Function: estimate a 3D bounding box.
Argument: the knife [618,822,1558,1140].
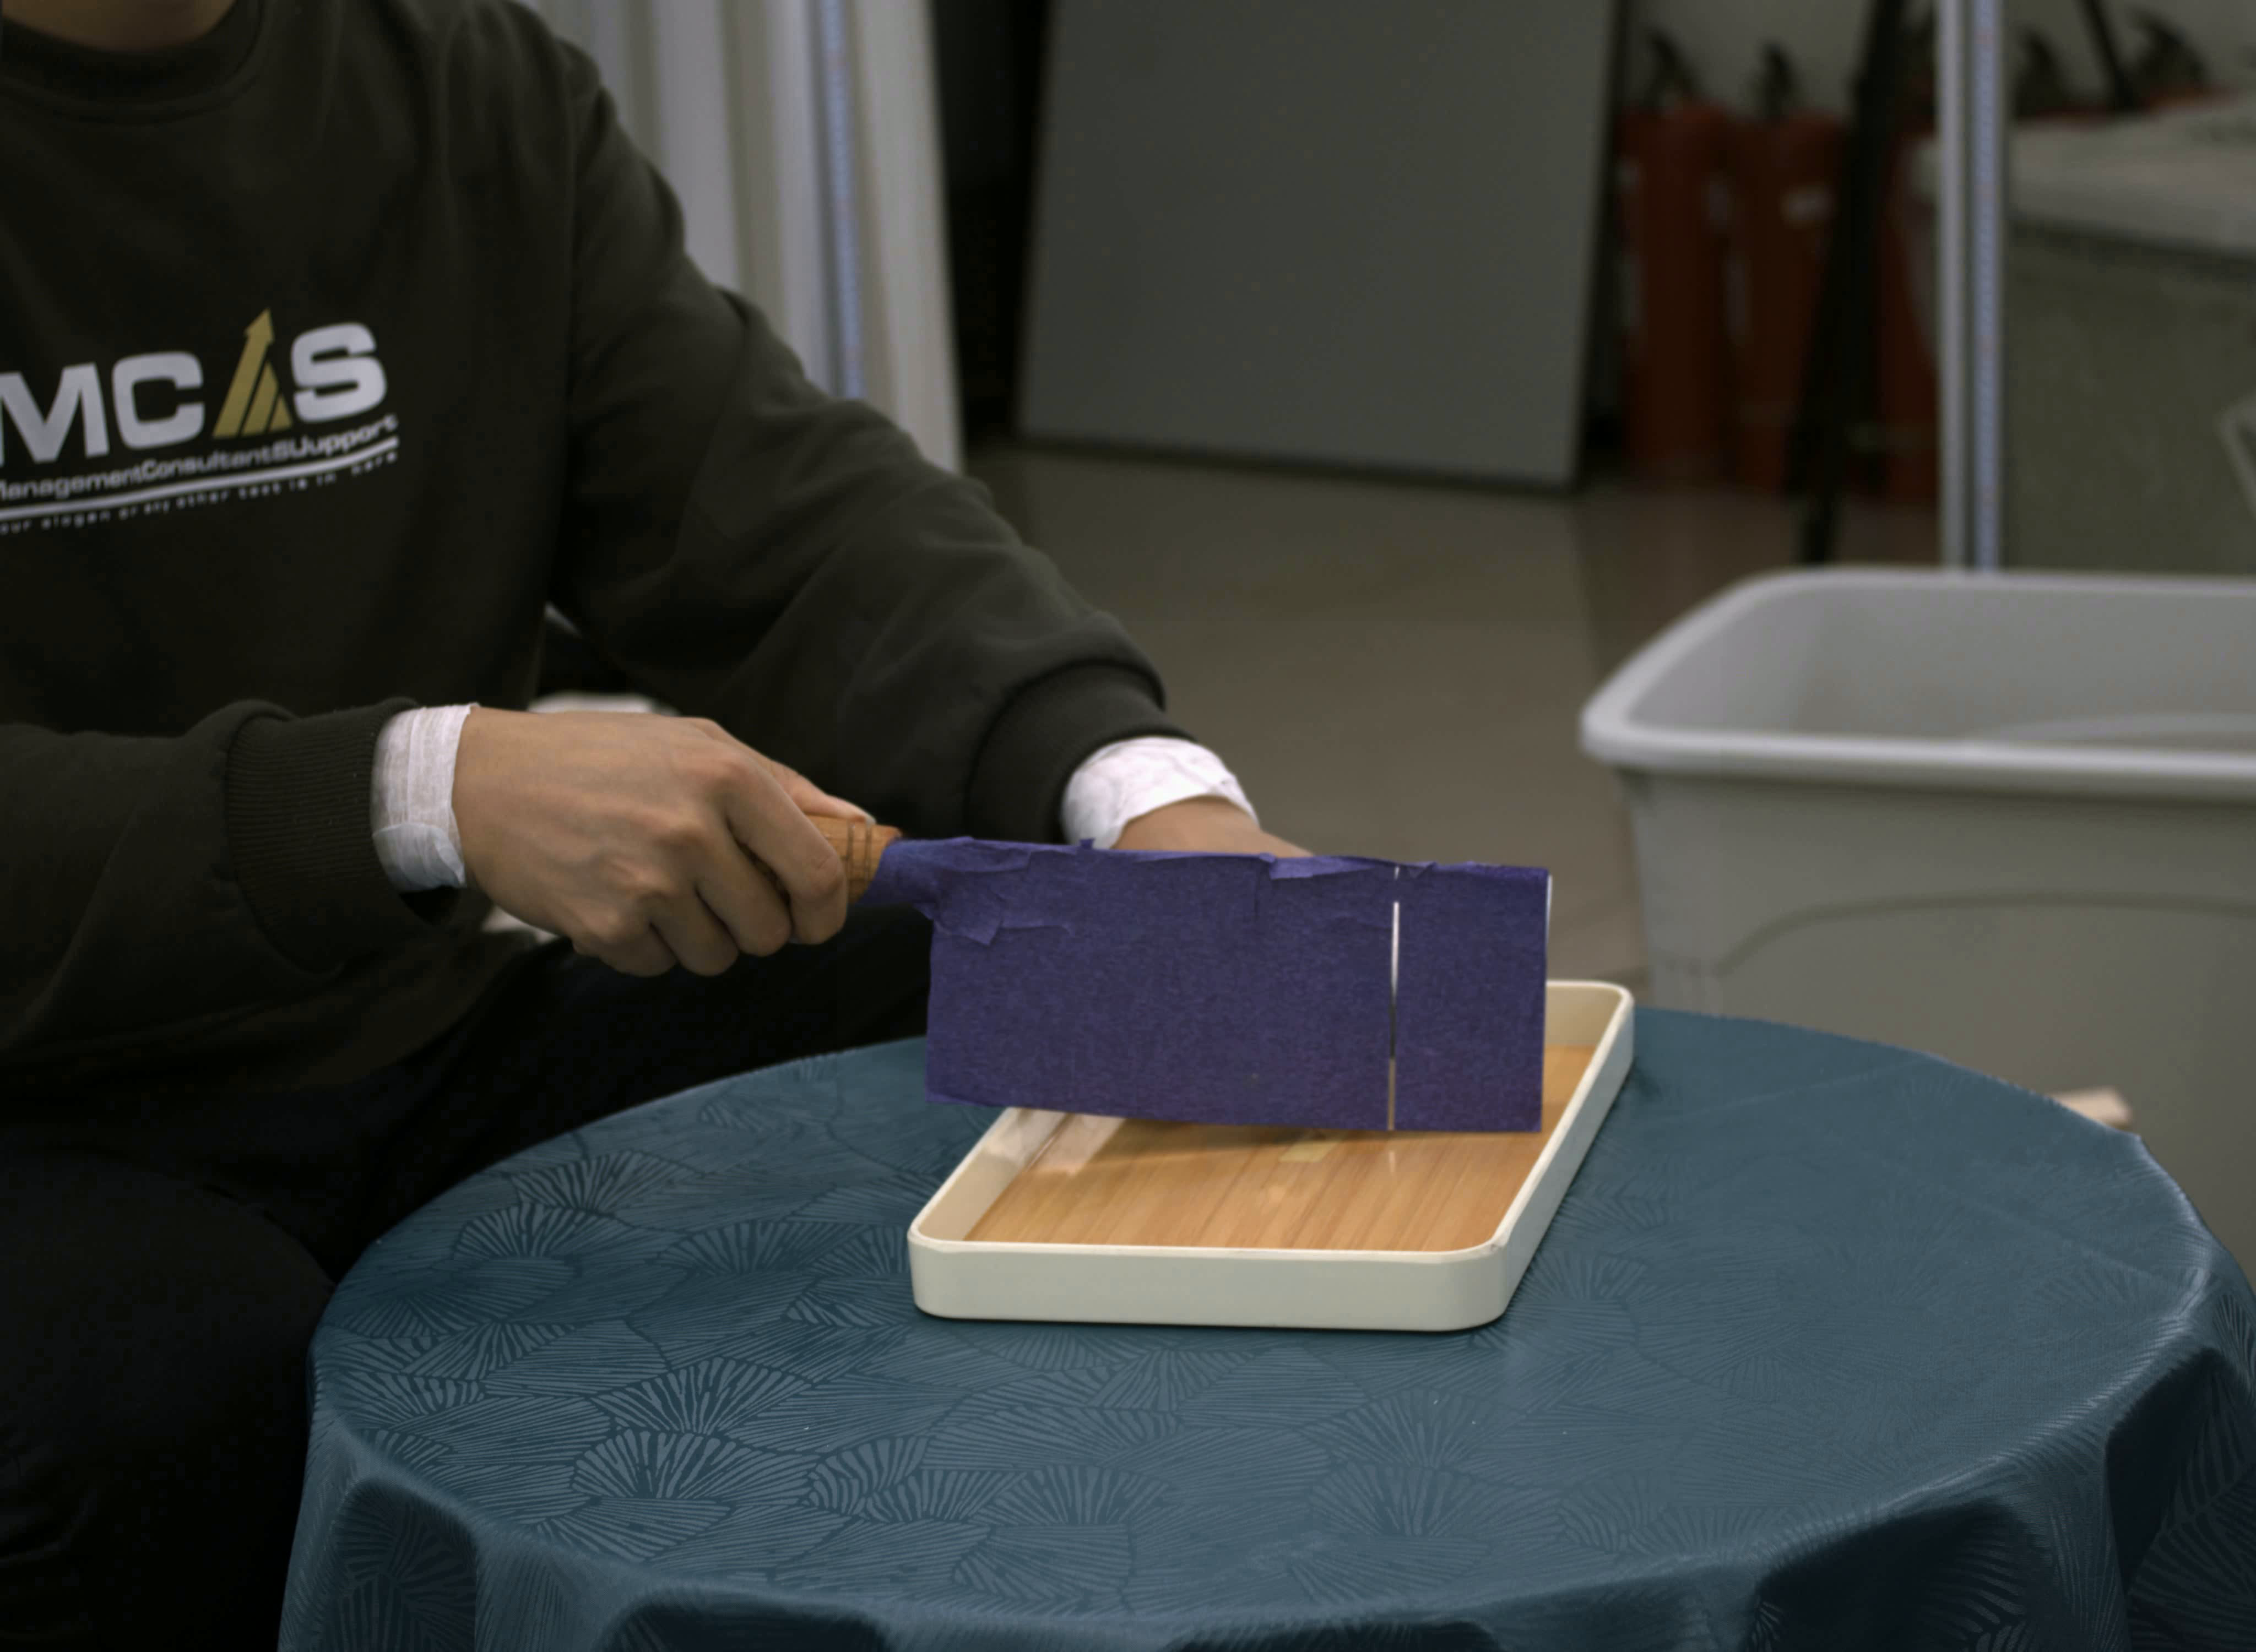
[{"bbox_3d":[-0.013,0.049,1.776,0.311,0.105,0.032,2,4,2],"label":"knife"}]

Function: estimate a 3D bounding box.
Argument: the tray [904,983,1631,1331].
[{"bbox_3d":[0.053,0.105,1.771,0.191,0.028,0.298,-1,14,15],"label":"tray"}]
